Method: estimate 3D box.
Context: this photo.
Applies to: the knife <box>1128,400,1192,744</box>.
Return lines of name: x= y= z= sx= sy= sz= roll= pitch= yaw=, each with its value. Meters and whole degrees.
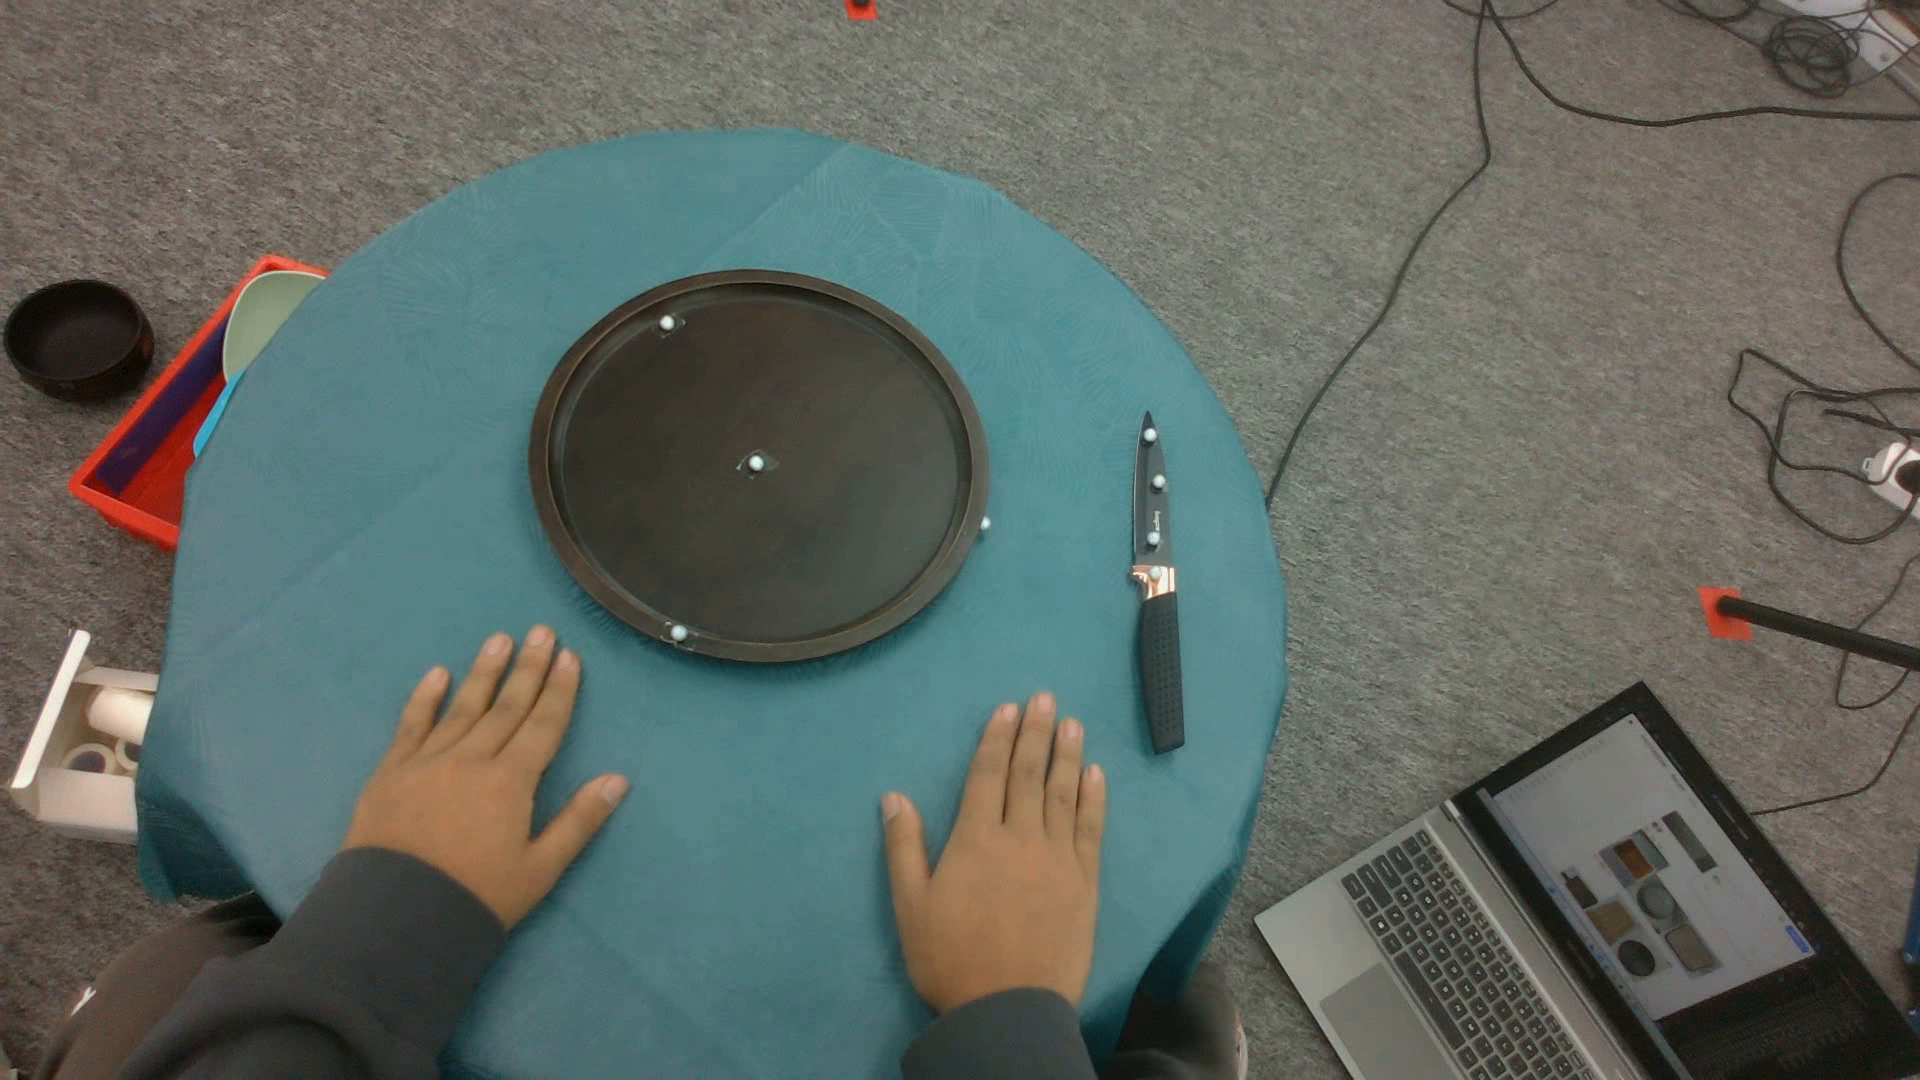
knife: x=0.116 y=0.012 z=0.804 sx=0.026 sy=0.017 sz=0.226 roll=1 pitch=61 yaw=-3

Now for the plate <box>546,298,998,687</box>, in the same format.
plate: x=-0.104 y=-0.033 z=0.787 sx=0.255 sy=0.029 sz=0.256 roll=4 pitch=63 yaw=-7
